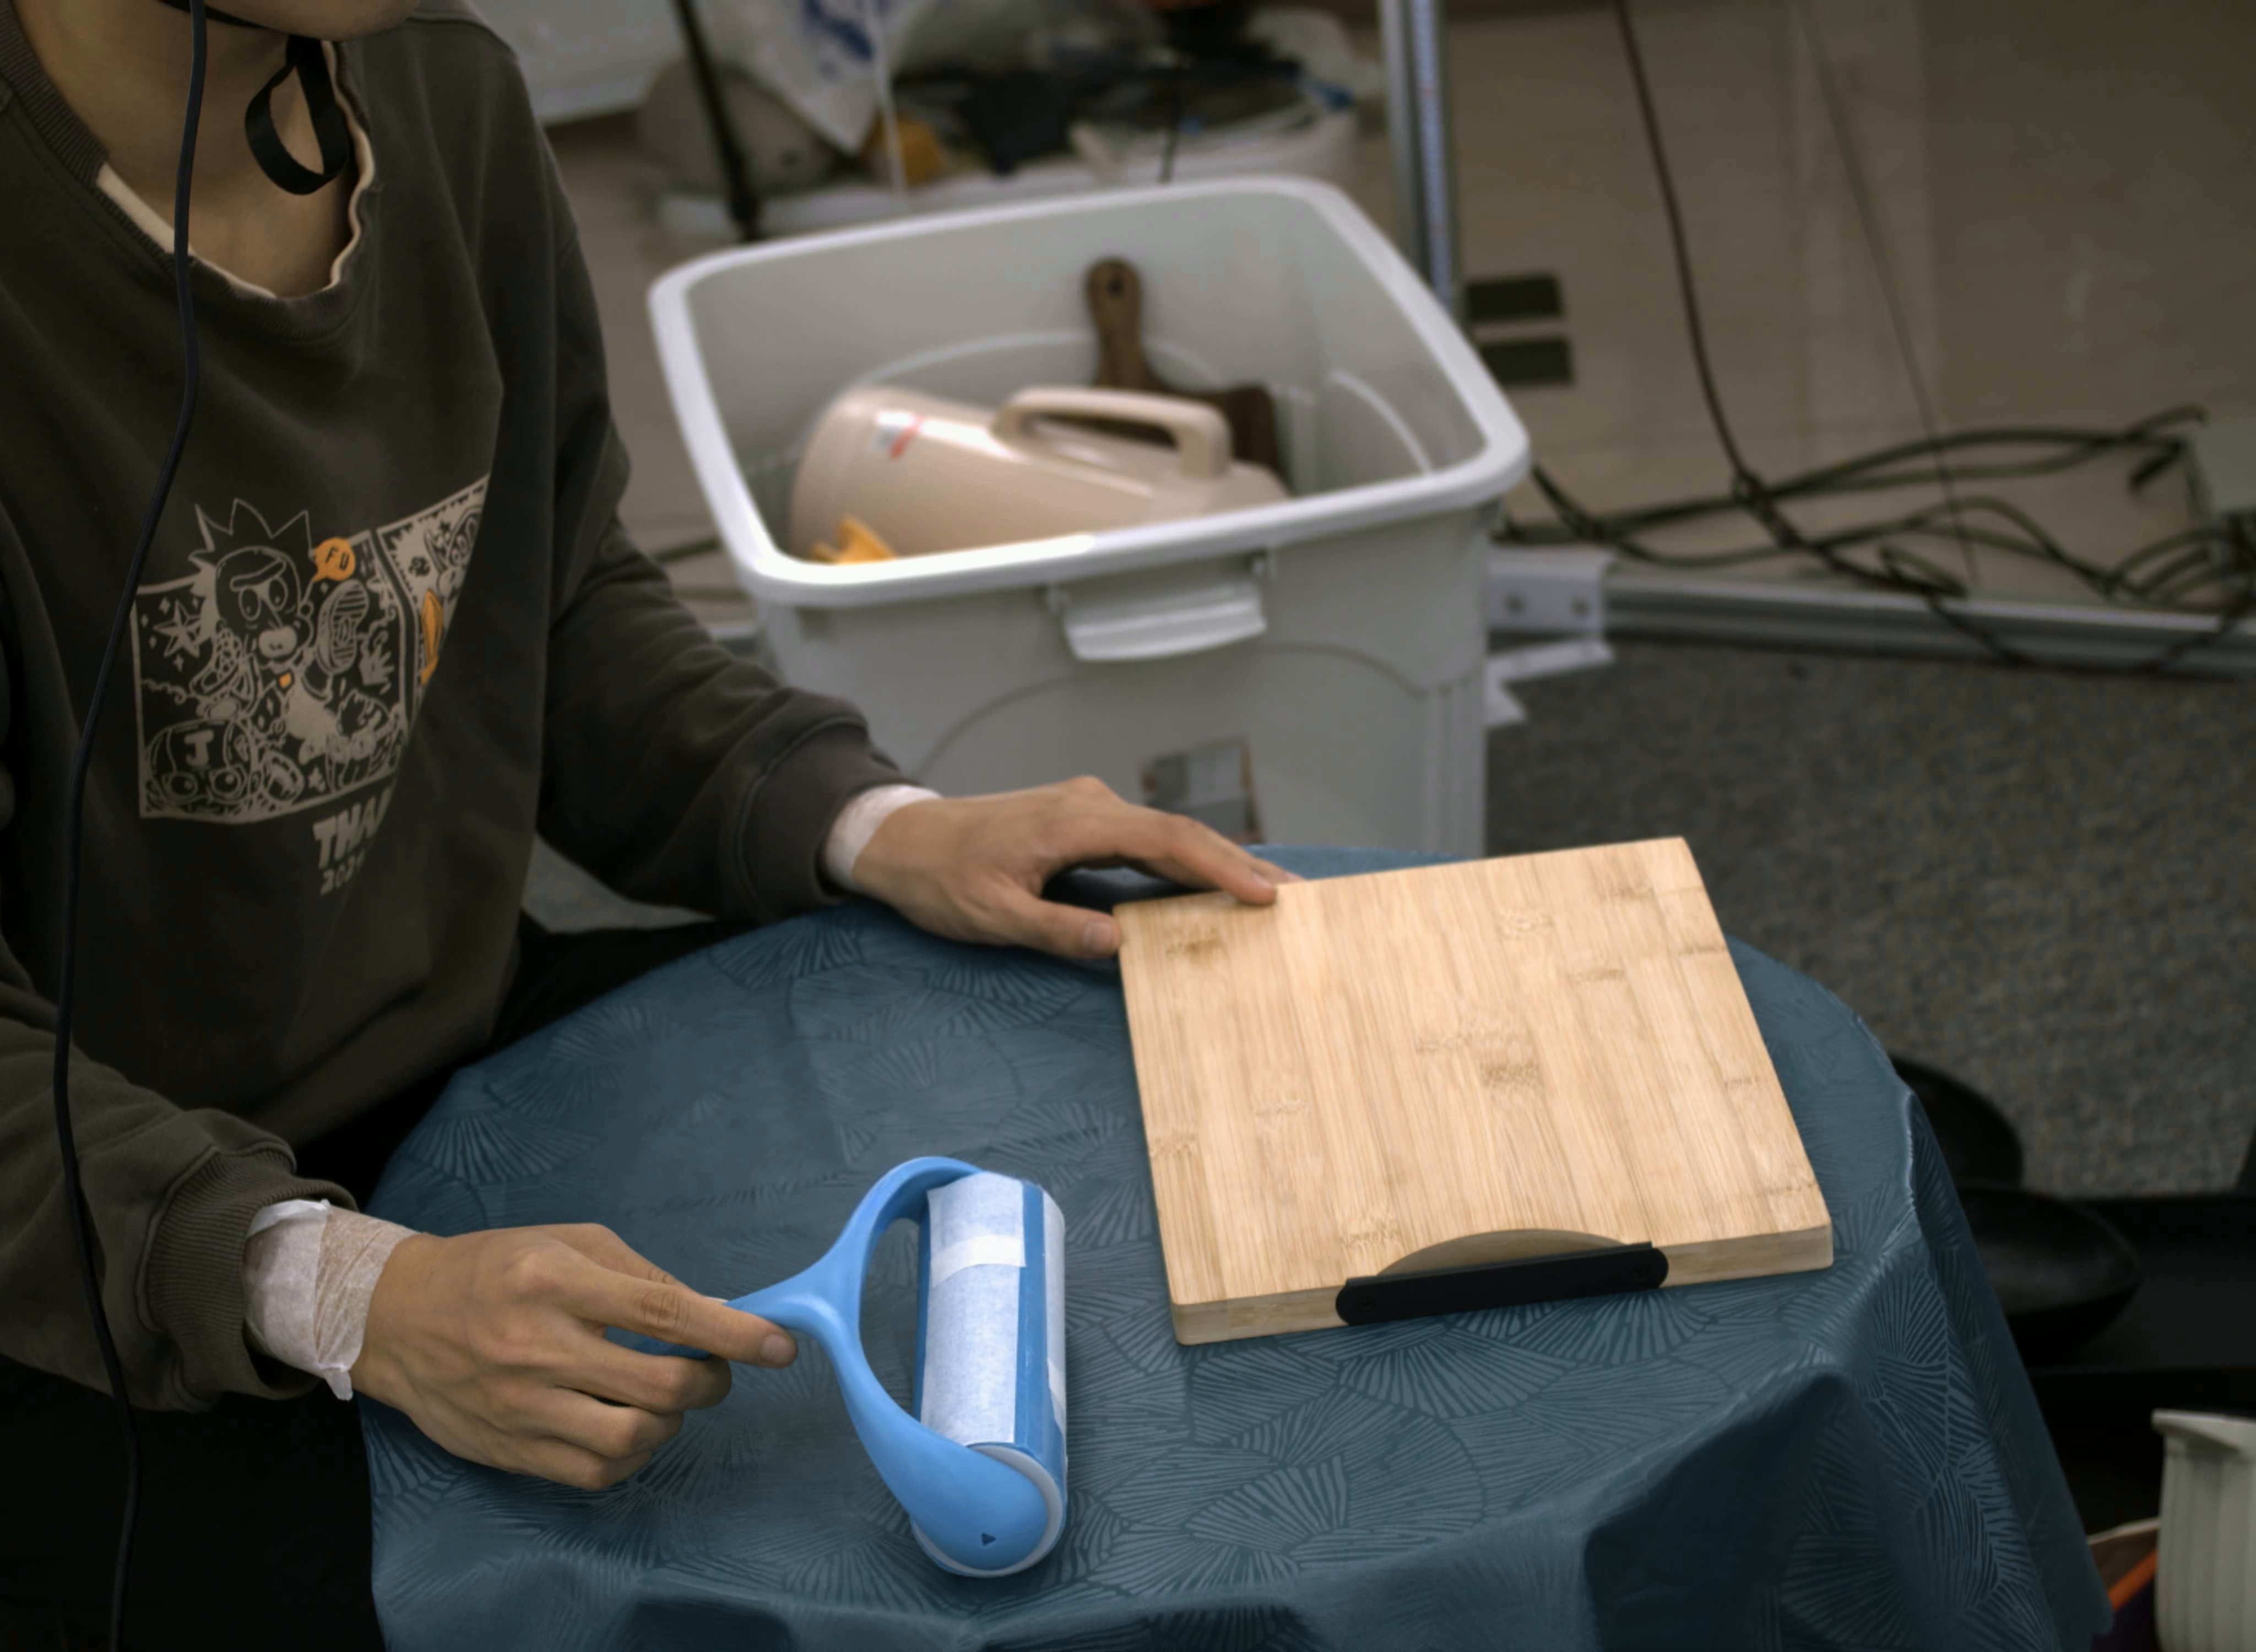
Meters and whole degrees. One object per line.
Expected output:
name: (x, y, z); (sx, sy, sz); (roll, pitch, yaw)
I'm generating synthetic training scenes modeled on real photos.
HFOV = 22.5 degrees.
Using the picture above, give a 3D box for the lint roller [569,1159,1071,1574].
lint roller: (-0.107, 0.189, 1.985); (0.180, 0.069, 0.225); (-1, 26, -3)

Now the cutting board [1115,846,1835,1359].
cutting board: (0.124, 0.099, 2.183); (0.250, 0.024, 0.343); (-8, 25, -1)
